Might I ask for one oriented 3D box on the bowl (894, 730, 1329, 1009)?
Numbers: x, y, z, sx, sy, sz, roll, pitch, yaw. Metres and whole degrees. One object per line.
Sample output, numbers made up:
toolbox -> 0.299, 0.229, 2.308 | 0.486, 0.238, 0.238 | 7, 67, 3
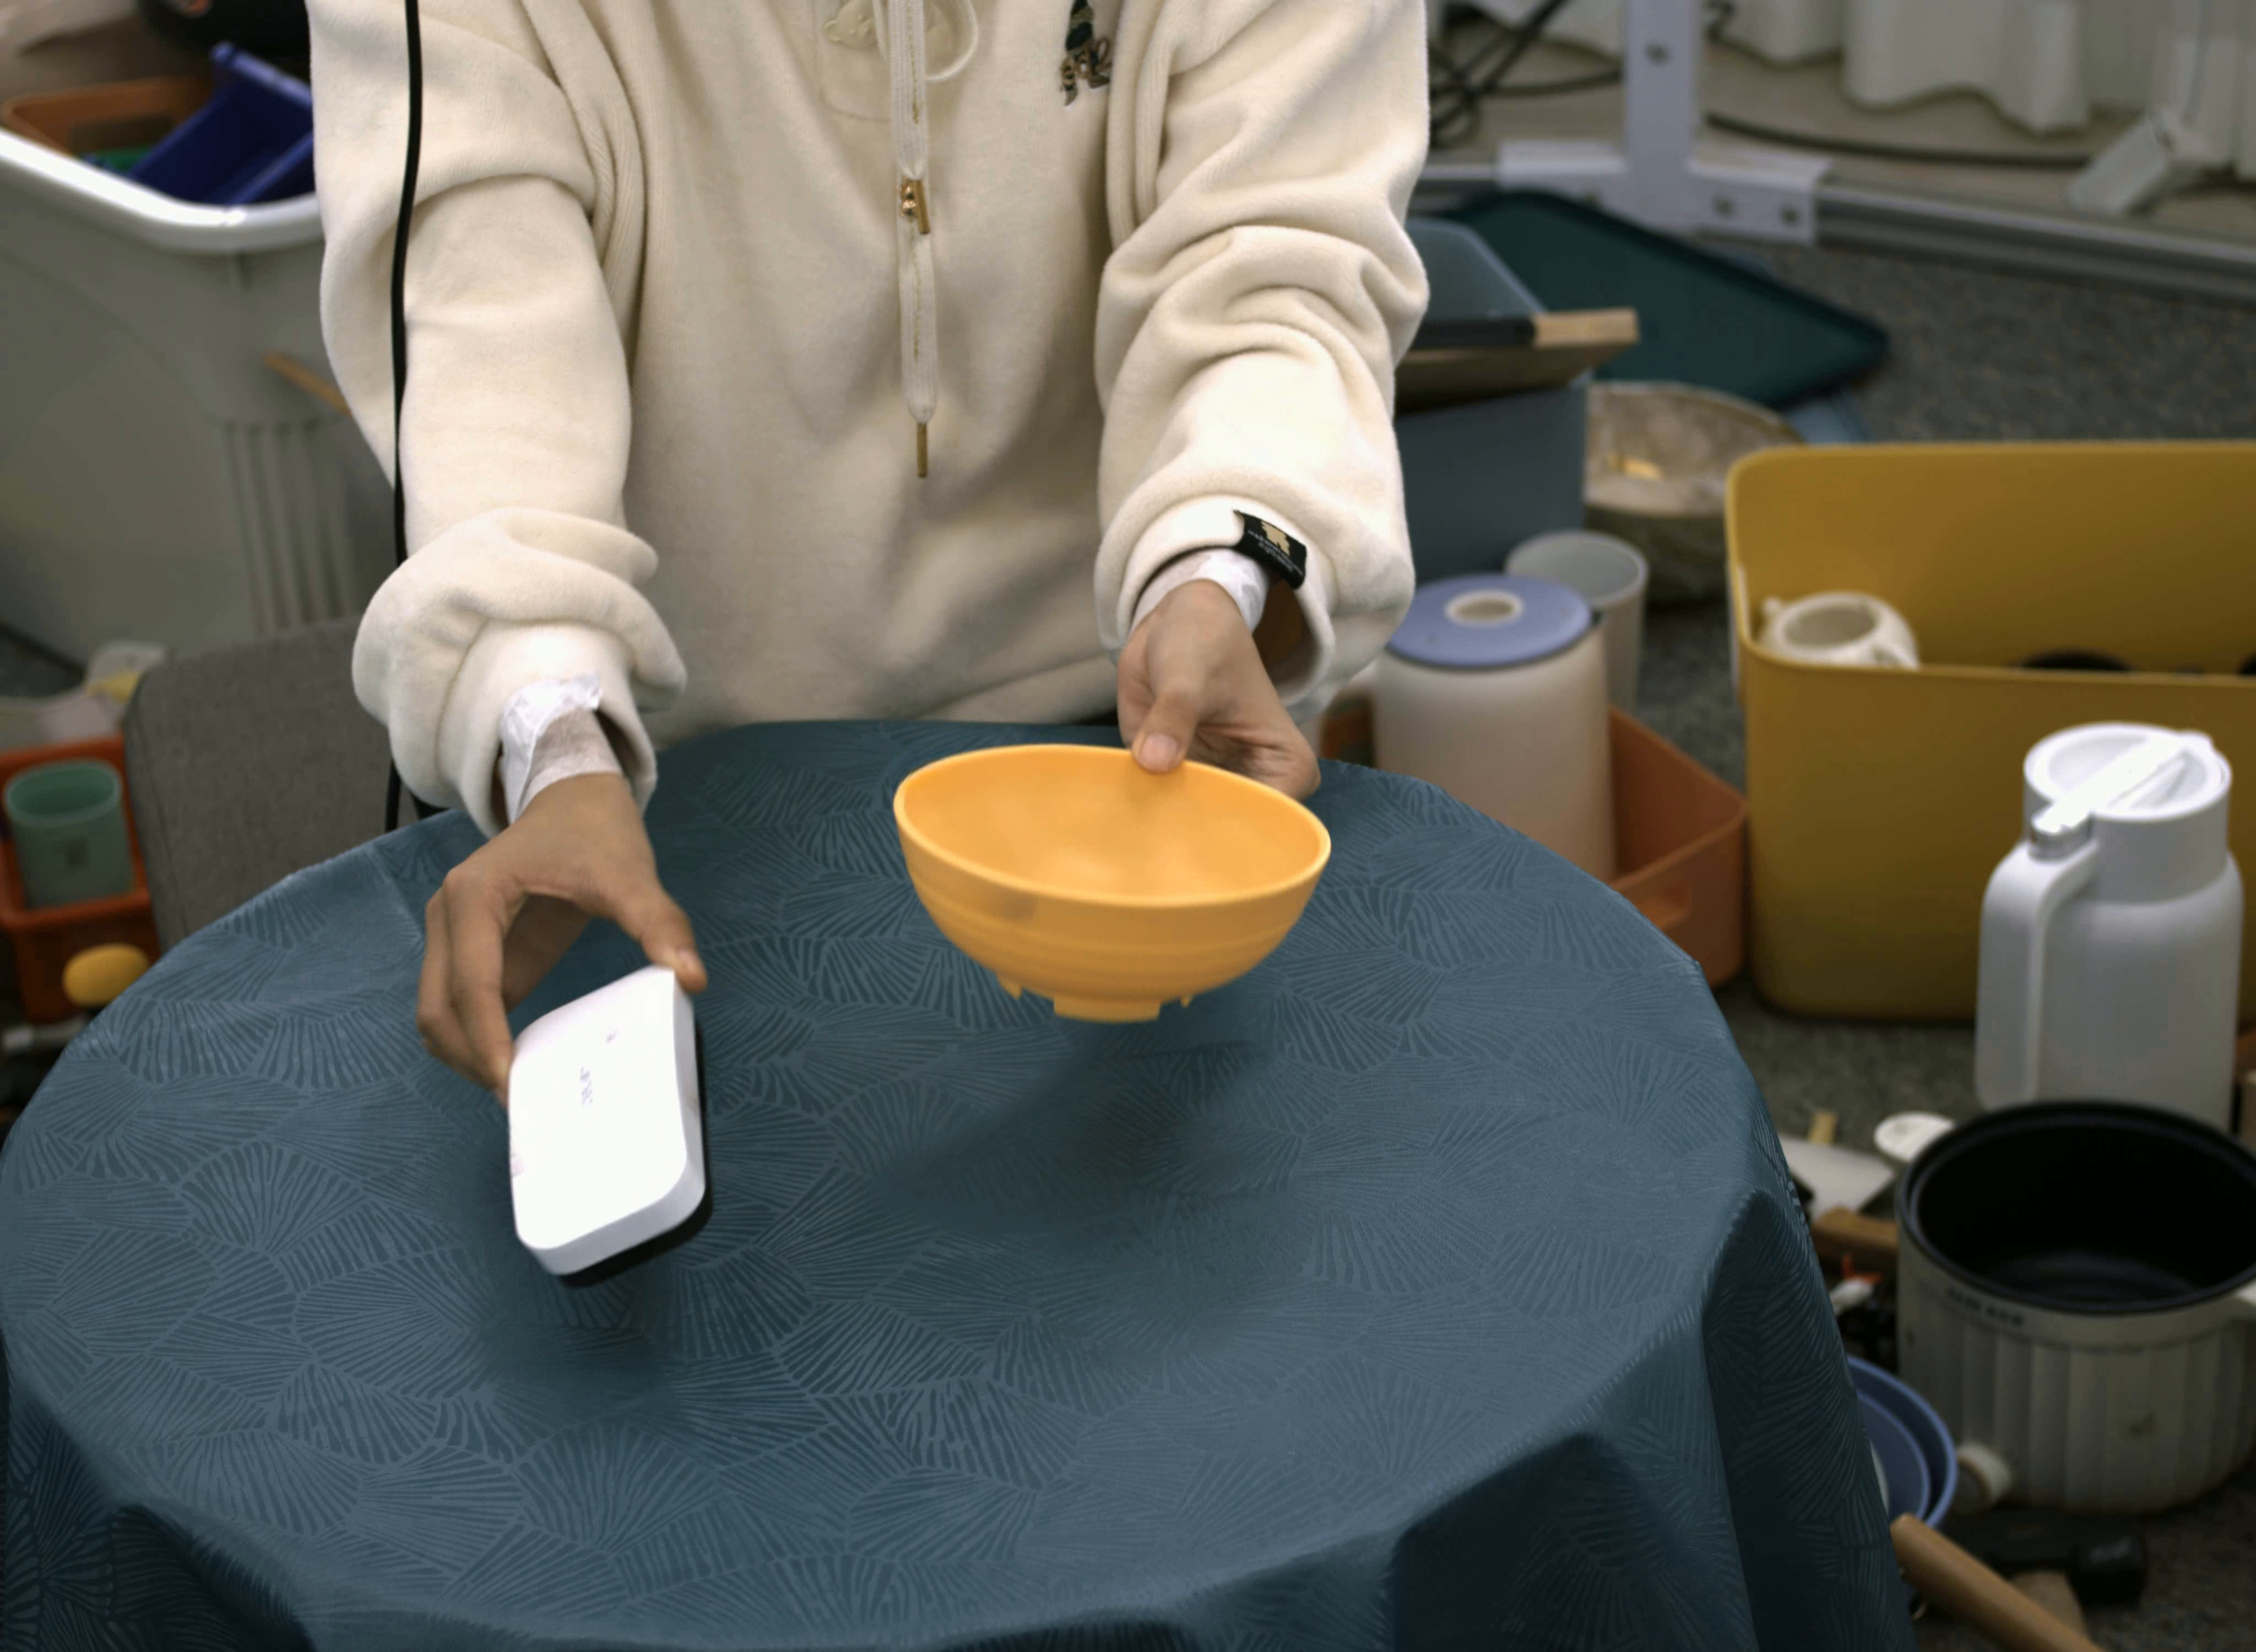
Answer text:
bowl -> -0.007, 0.021, 1.853 | 0.145, 0.059, 0.147 | 5, 21, -2

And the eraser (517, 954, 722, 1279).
eraser -> -0.163, 0.090, 1.806 | 0.063, 0.034, 0.133 | -27, 31, 10
